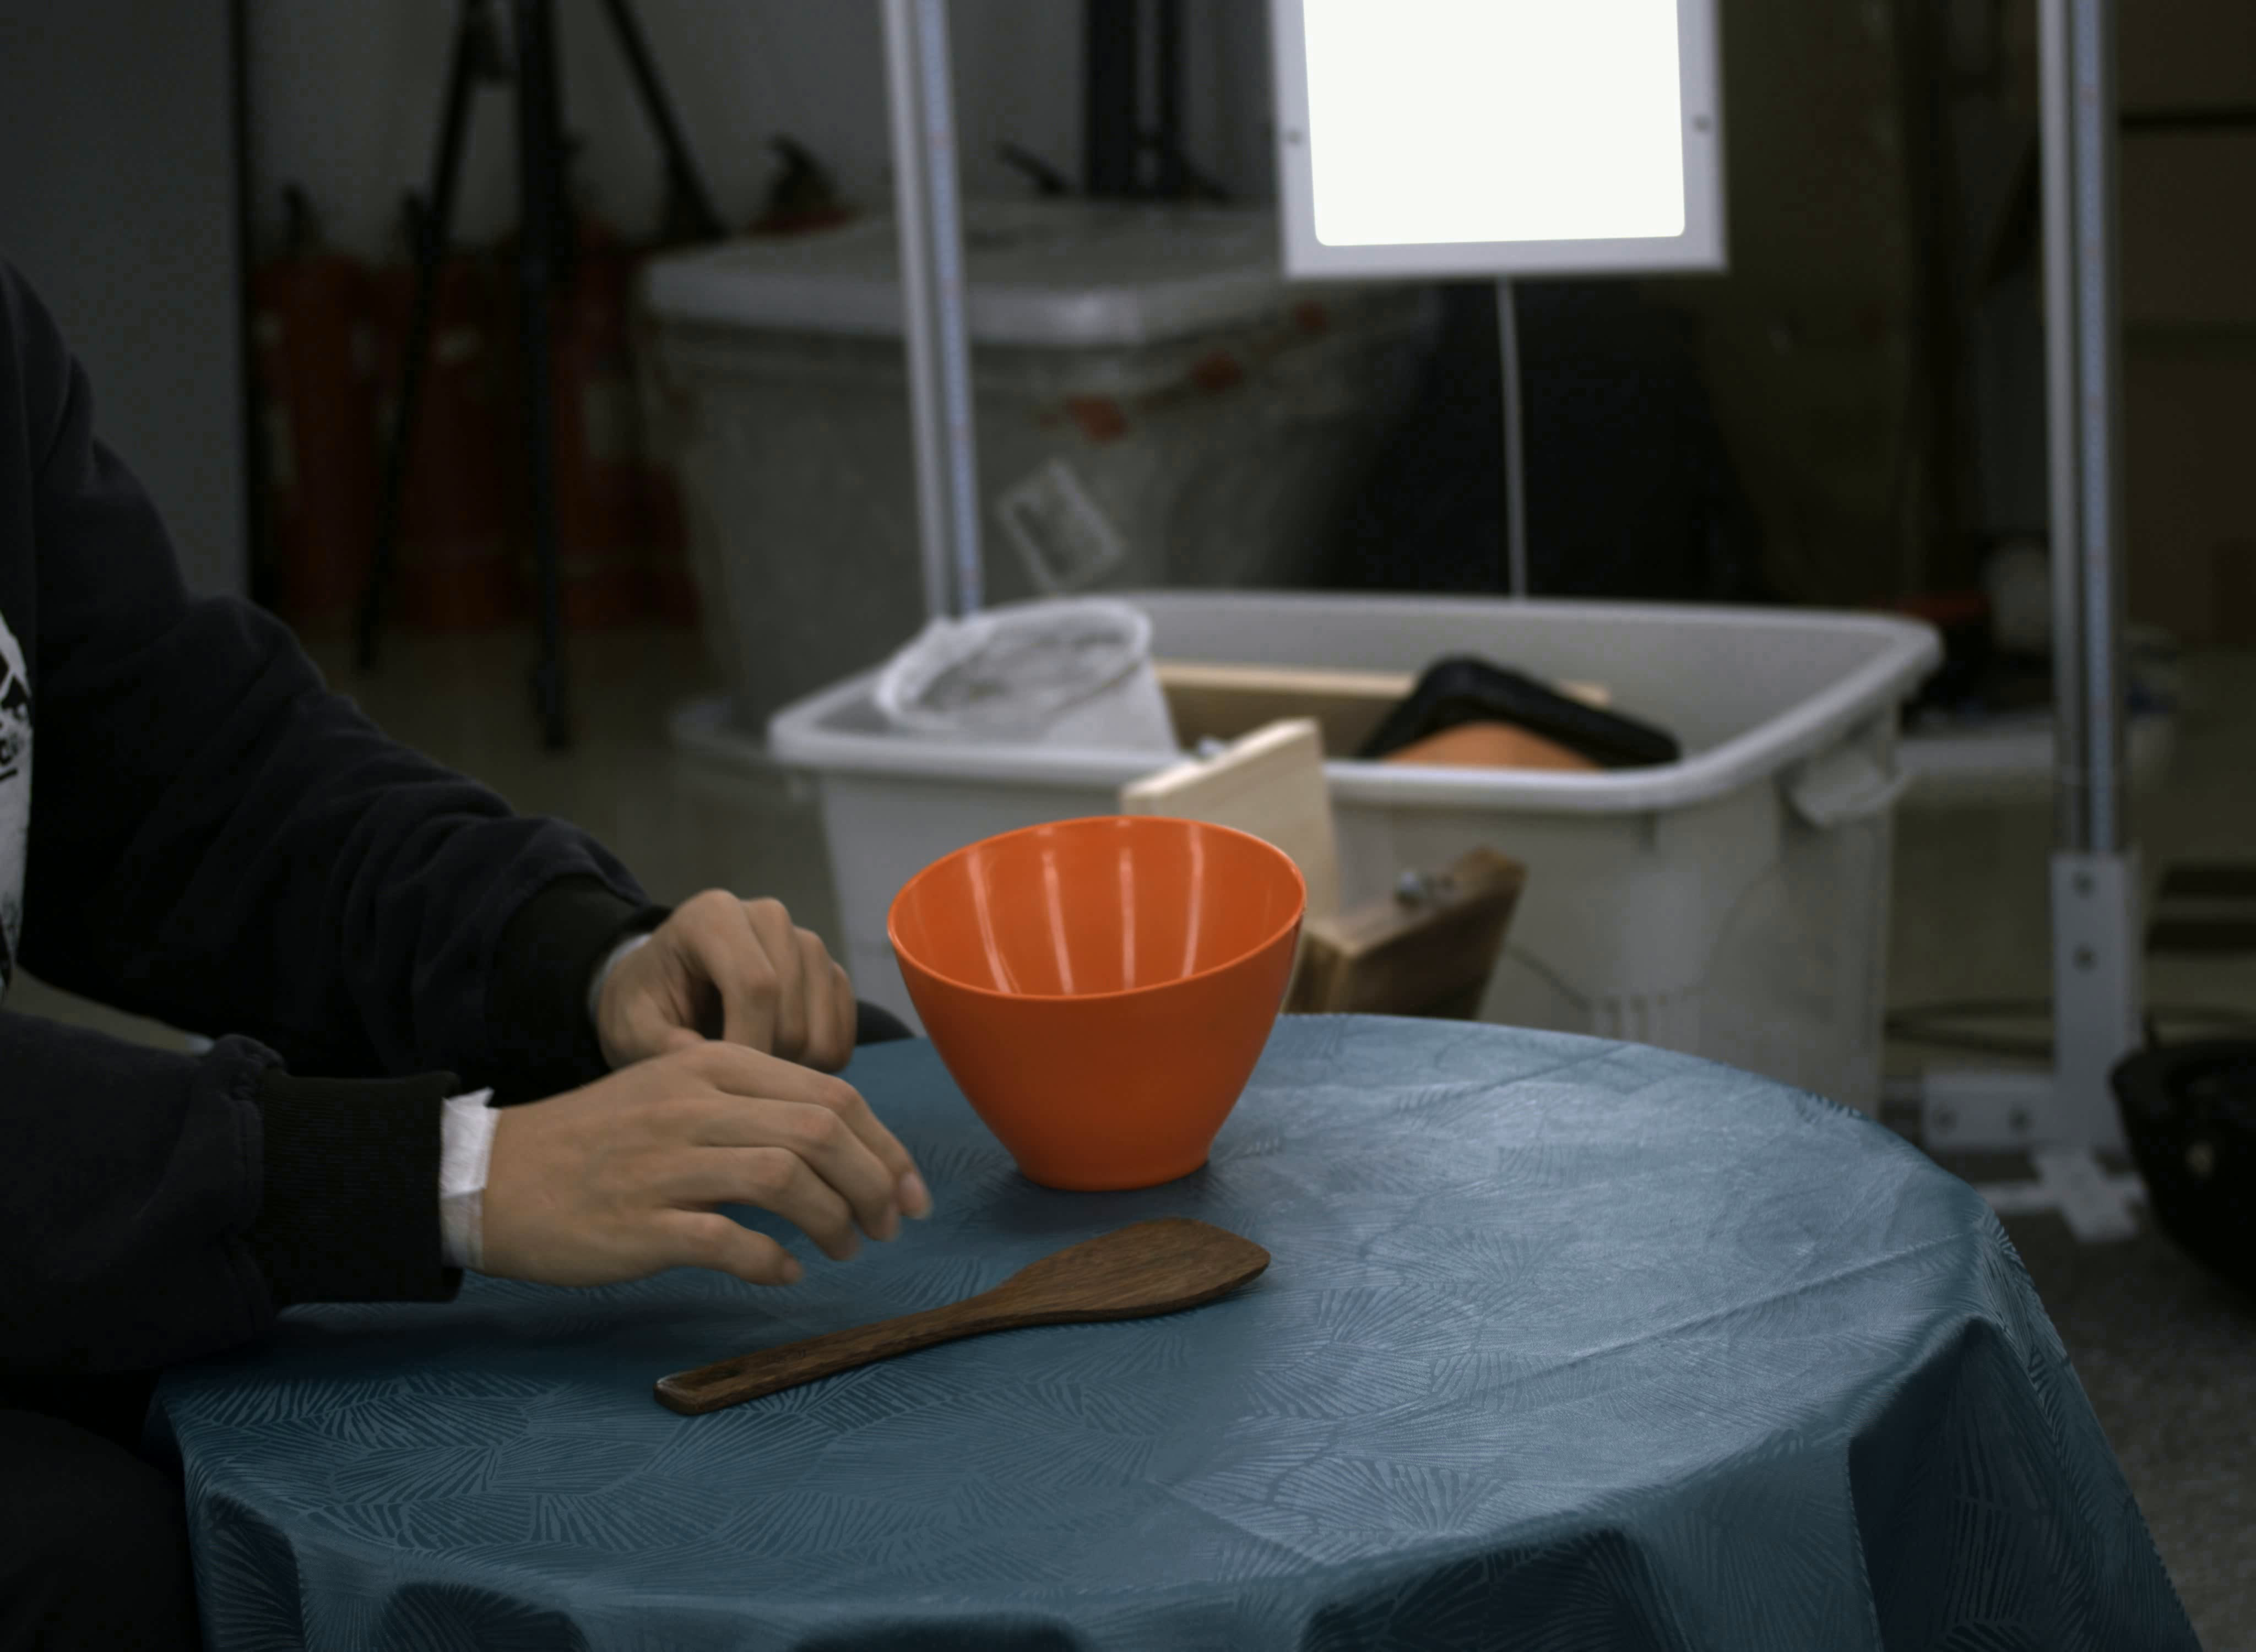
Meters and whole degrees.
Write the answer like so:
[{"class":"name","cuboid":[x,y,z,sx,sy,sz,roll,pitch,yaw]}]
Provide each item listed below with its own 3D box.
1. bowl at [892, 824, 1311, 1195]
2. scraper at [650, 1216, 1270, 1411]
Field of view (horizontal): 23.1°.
[{"class":"bowl","cuboid":[-0.006,0.067,1.929,0.147,0.105,0.148,-4,14,0]},{"class":"scraper","cuboid":[-0.056,0.159,1.769,0.207,0.011,0.077,-13,15,-27]}]
